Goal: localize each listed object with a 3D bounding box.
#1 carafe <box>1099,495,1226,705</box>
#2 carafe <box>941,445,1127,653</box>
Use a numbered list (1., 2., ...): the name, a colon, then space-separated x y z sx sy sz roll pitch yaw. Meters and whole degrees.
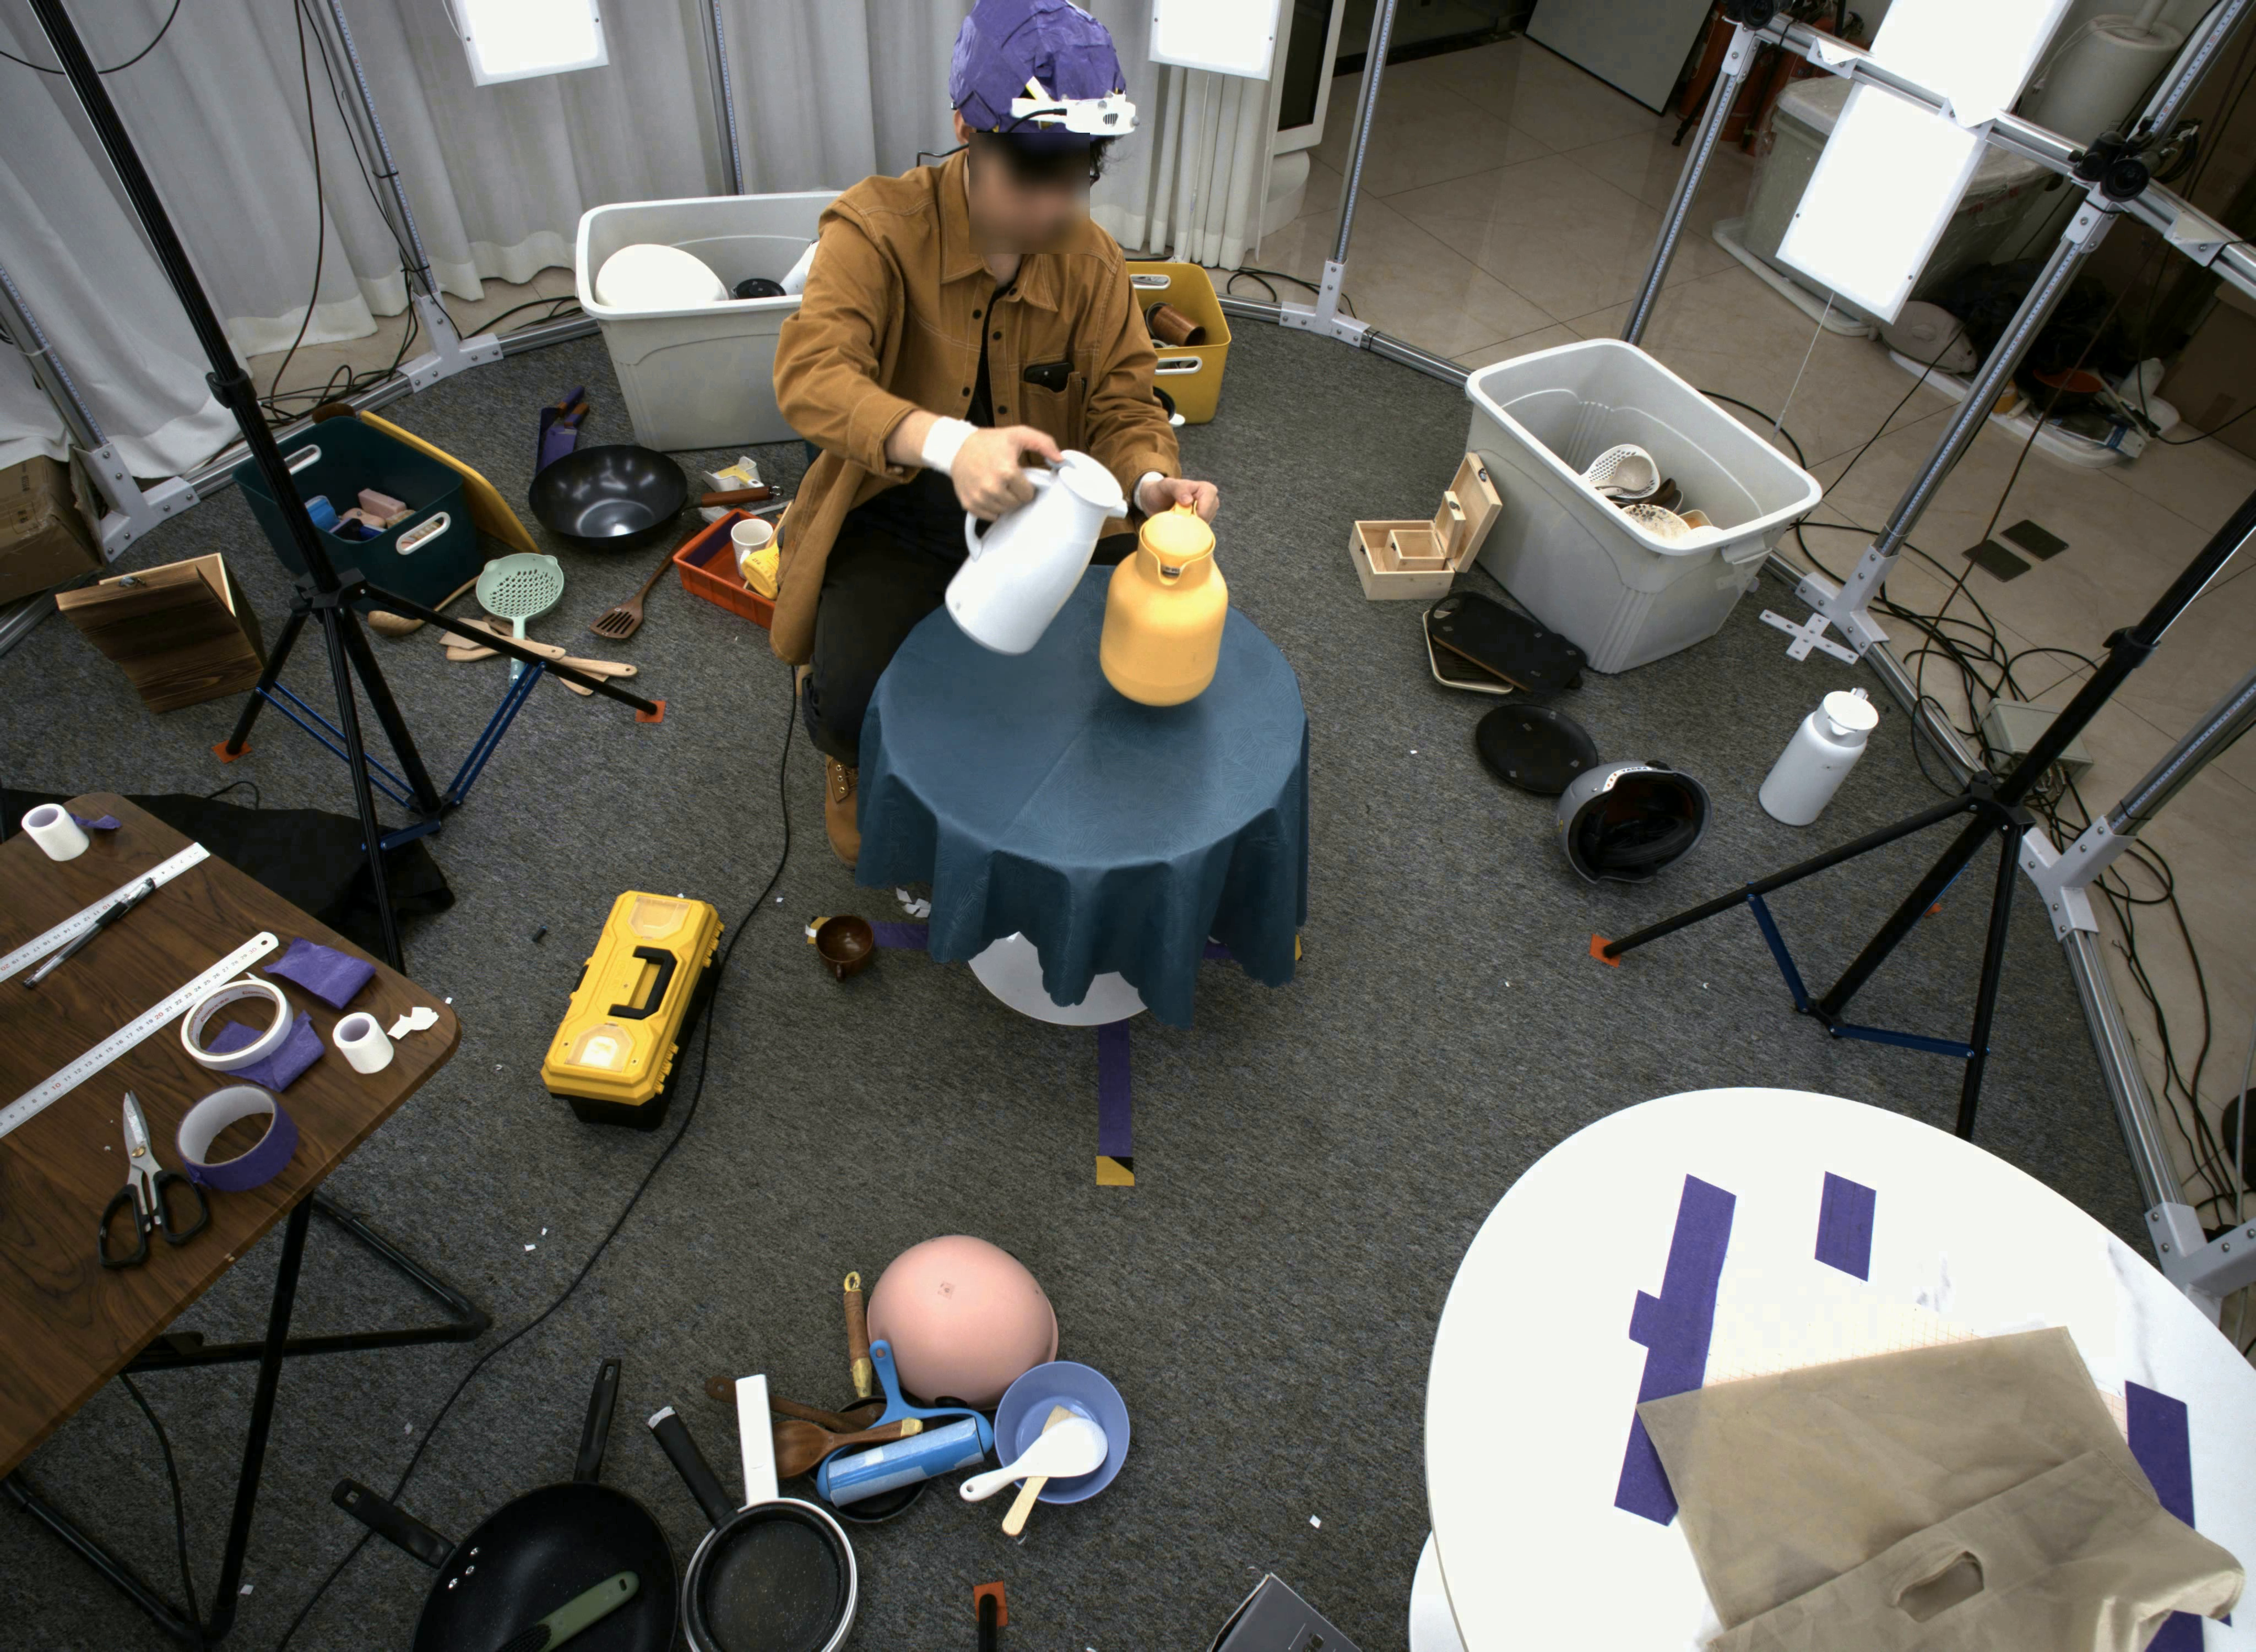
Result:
1. carafe: 0.054 -0.309 1.722 0.163 0.254 0.207 14 51 3
2. carafe: -0.125 -0.343 1.547 0.166 0.245 0.136 19 43 -29
